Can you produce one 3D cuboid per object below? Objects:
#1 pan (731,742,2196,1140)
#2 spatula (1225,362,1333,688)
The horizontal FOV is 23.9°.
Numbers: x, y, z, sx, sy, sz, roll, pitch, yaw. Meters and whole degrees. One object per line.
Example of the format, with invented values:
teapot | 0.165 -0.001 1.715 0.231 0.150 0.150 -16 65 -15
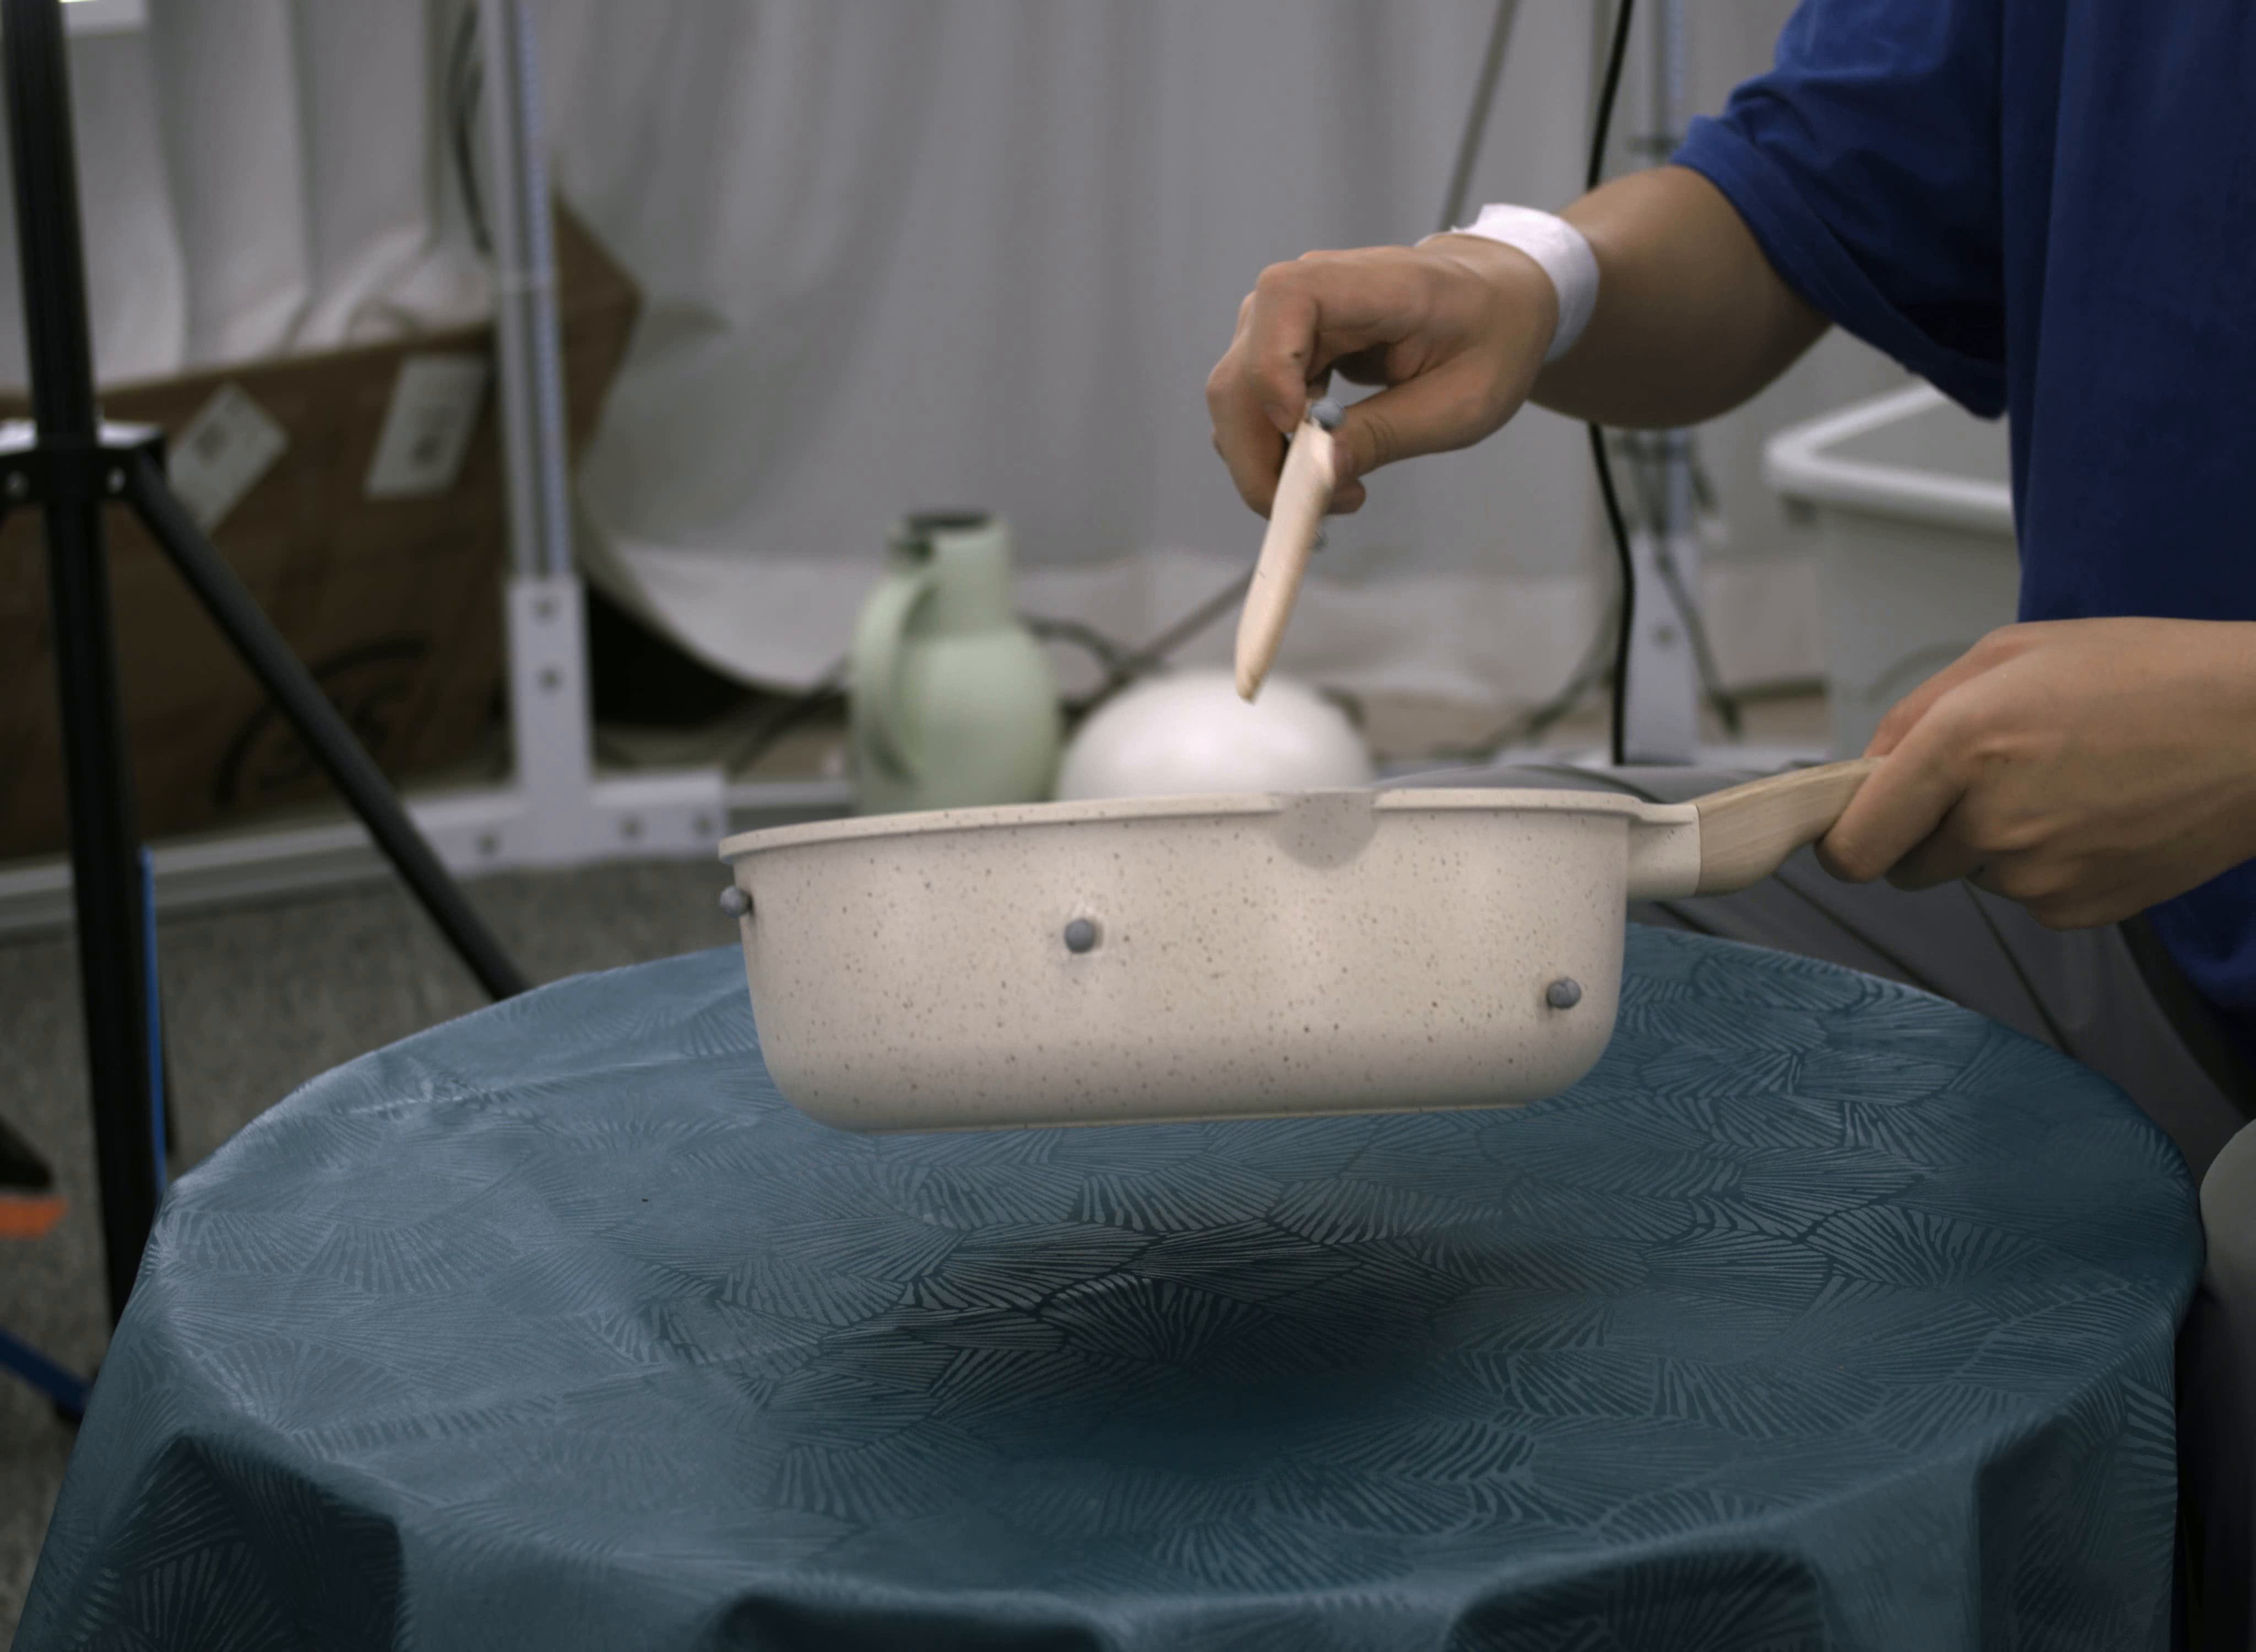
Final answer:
pan | 0.106 0.030 1.455 0.427 0.102 0.266 -1 -6 -17
spatula | 0.050 -0.105 1.601 0.010 0.072 0.293 17 15 0
